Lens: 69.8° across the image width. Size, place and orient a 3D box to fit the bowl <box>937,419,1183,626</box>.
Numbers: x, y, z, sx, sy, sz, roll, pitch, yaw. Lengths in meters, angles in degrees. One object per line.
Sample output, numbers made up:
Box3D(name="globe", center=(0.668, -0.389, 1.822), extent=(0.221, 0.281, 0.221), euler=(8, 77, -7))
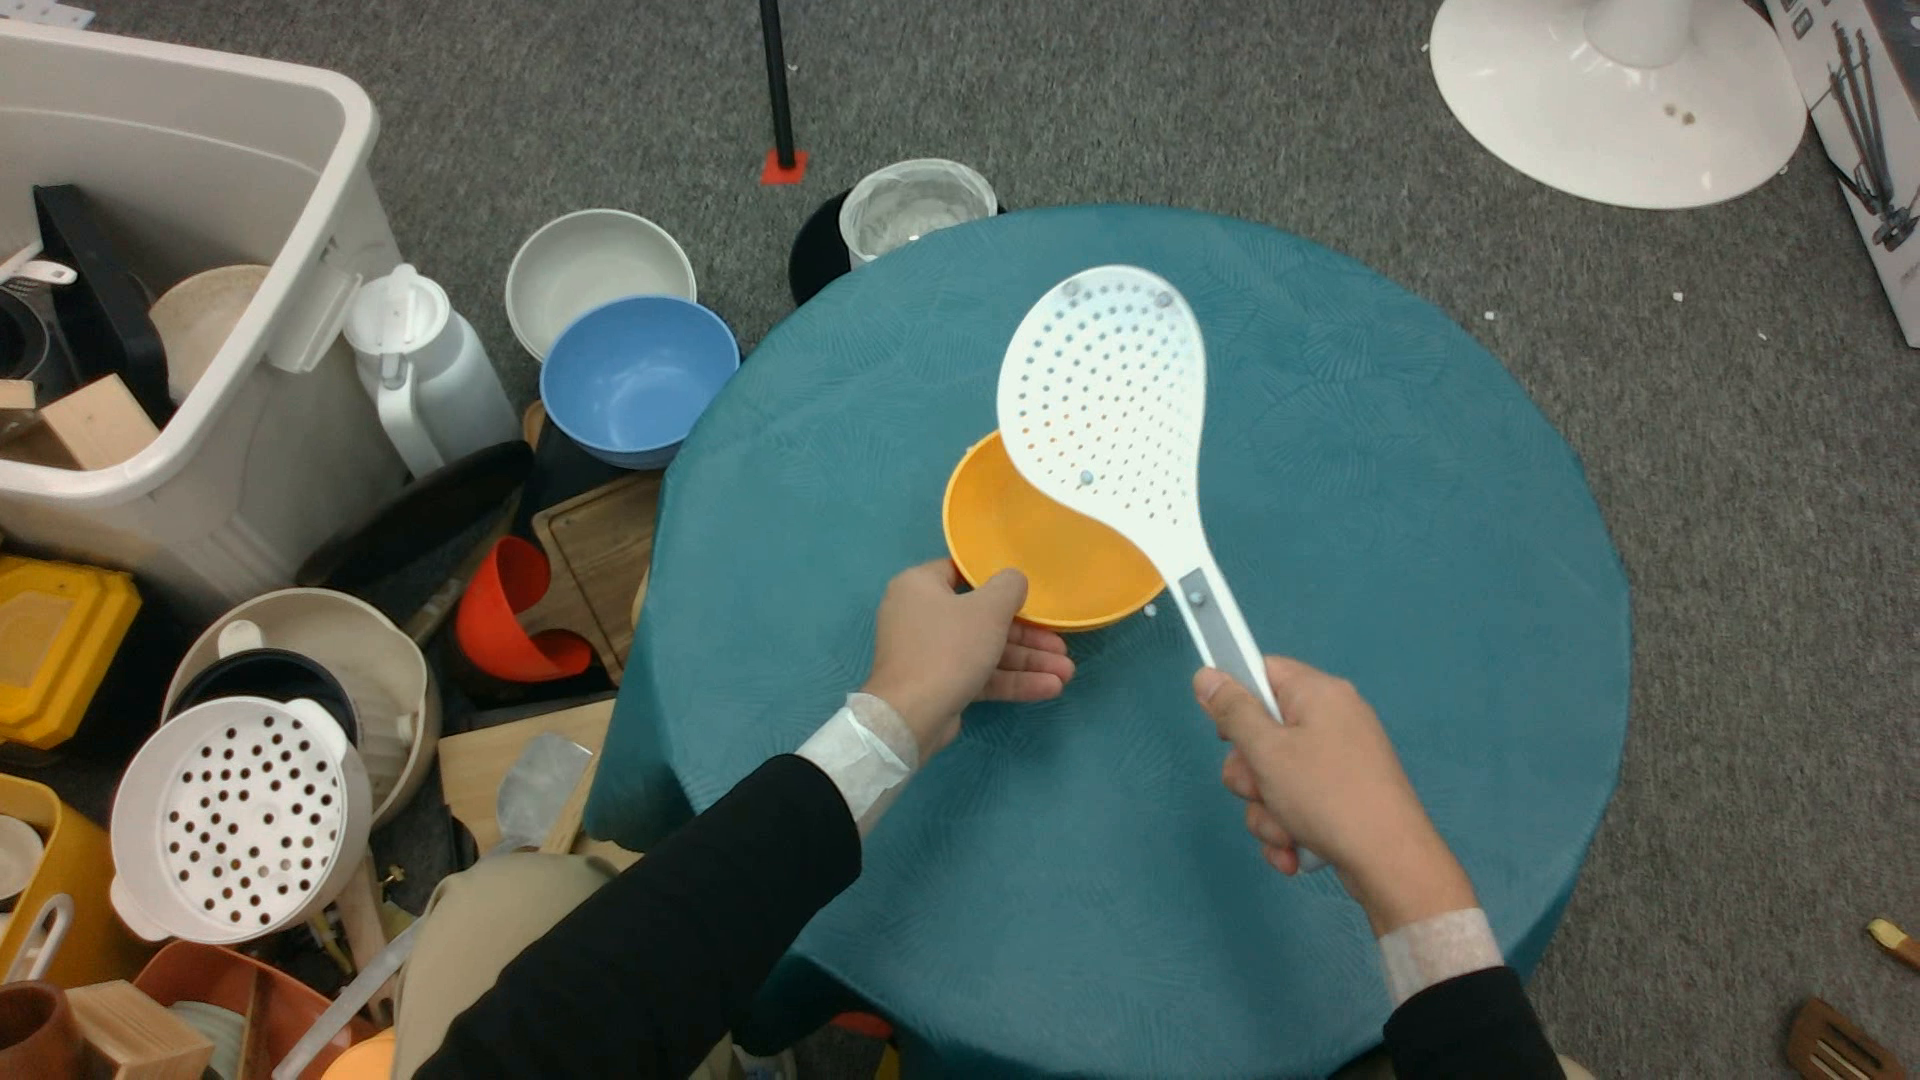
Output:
Box3D(name="bowl", center=(0.059, -0.004, 0.826), extent=(0.145, 0.060, 0.146), euler=(0, 59, 0))

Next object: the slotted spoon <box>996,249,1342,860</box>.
Box3D(name="slotted spoon", center=(0.114, -0.002, 0.721), extent=(0.135, 0.046, 0.351), euler=(-36, 57, 29))
